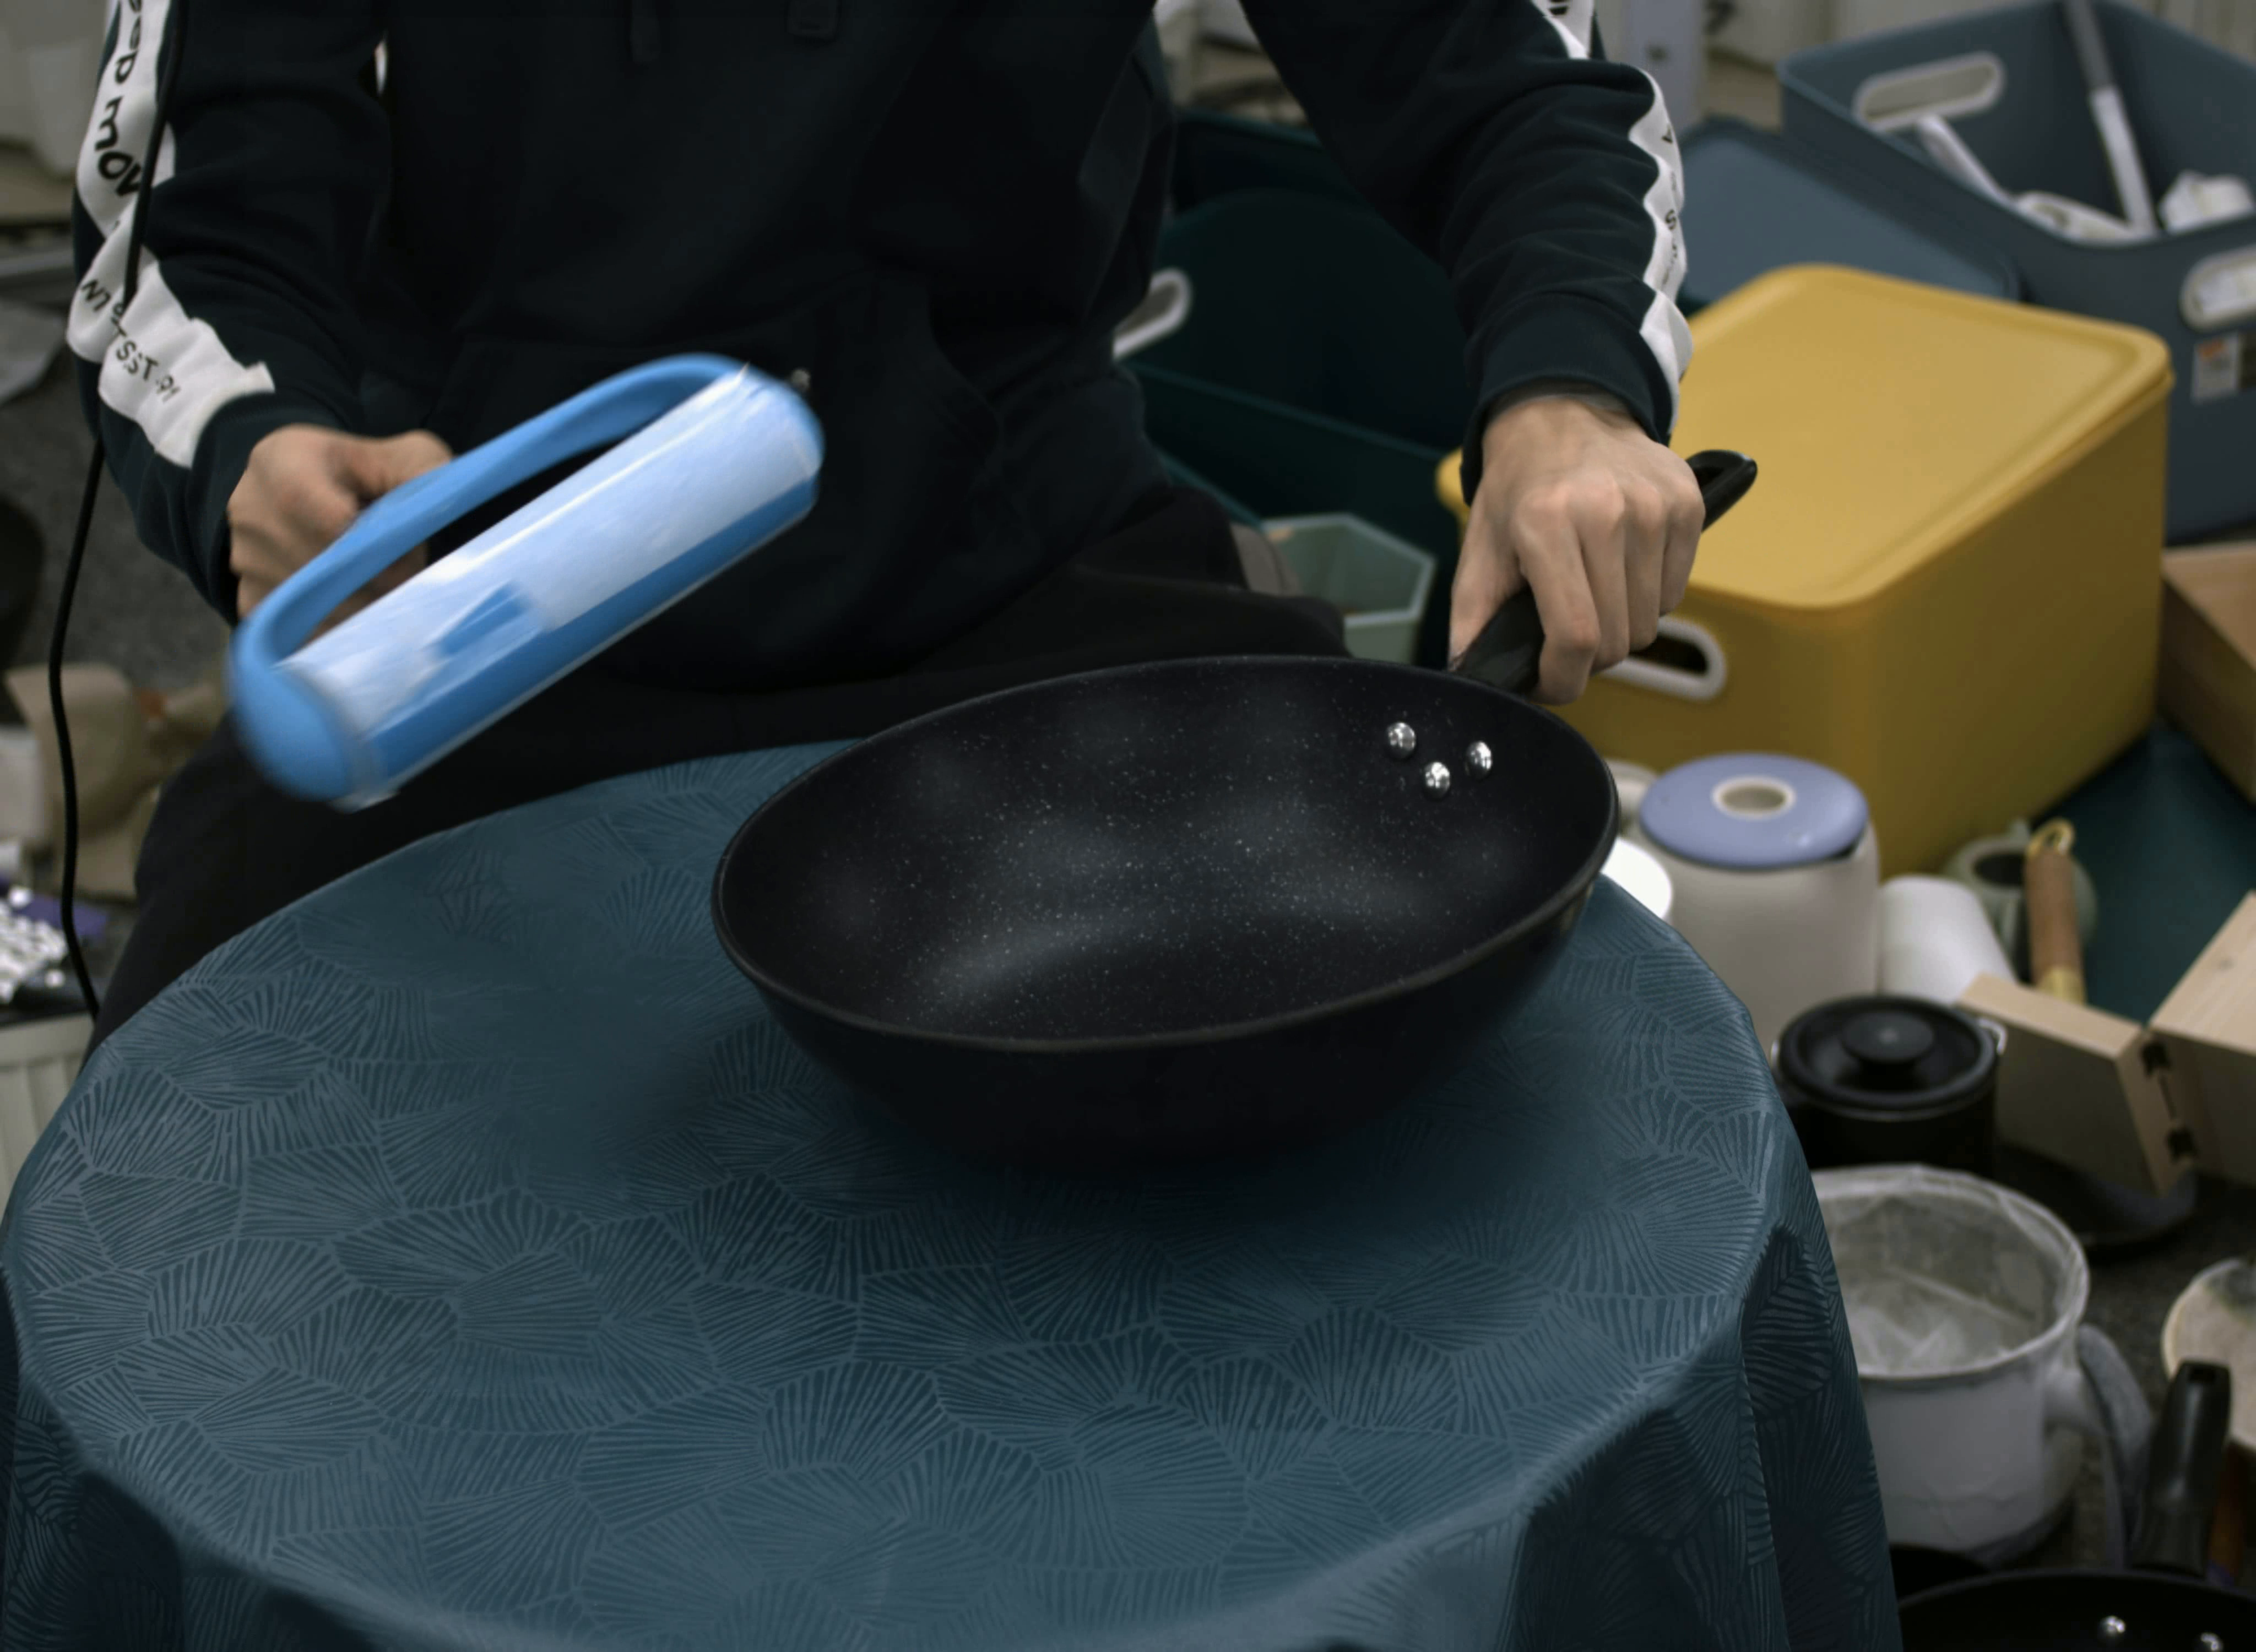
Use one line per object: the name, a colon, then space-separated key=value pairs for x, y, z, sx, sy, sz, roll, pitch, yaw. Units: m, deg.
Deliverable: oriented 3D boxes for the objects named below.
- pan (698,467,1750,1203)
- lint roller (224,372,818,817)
pan: x=0.067 y=0.005 z=1.952 sx=0.309 sy=0.110 sz=0.483 roll=16 pitch=33 yaw=39
lint roller: x=-0.229 y=-0.079 z=1.869 sx=0.232 sy=0.067 sz=0.179 roll=-38 pitch=28 yaw=-32
